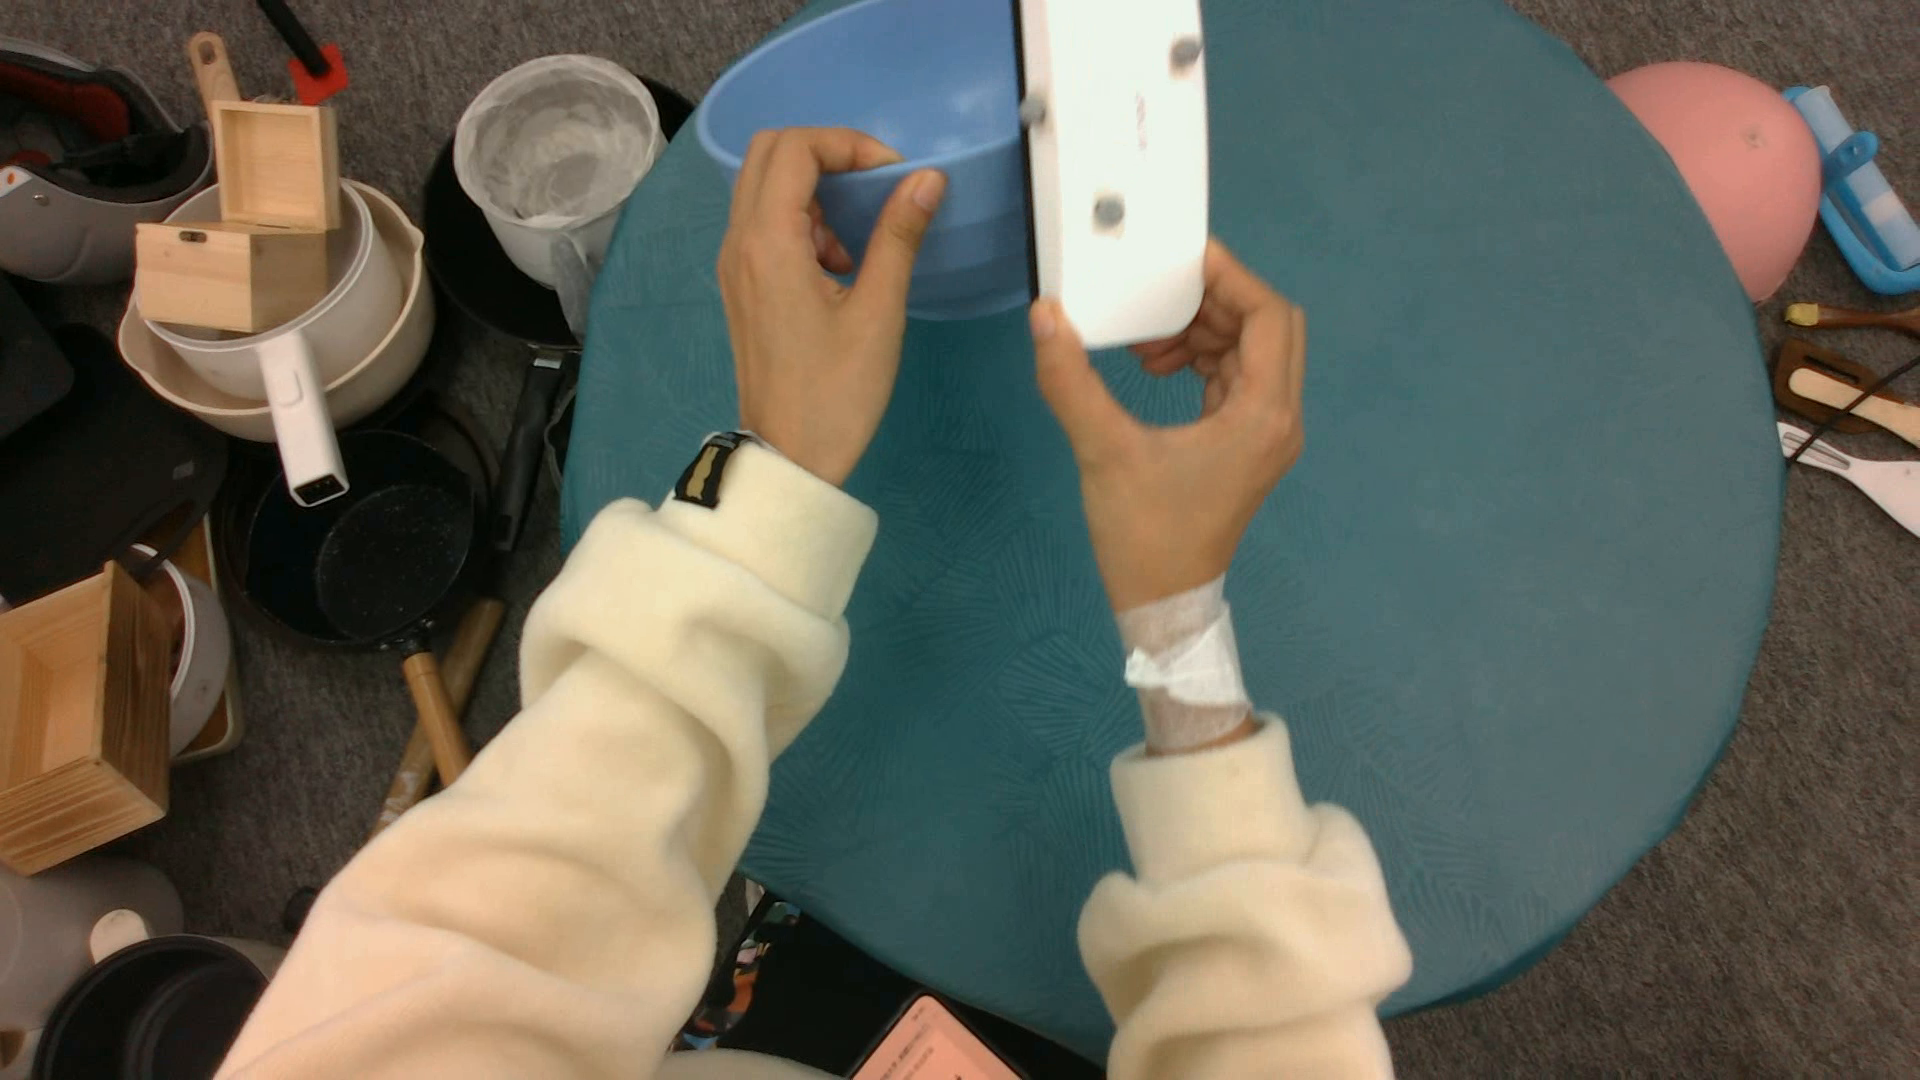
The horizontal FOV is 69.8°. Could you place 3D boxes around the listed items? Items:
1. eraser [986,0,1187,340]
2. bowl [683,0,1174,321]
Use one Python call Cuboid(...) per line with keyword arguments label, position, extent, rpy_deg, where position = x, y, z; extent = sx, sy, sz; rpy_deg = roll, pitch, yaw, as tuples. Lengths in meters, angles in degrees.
Cuboid(label="eraser", position=(0.043, -0.136, 0.471), extent=(0.063, 0.034, 0.131), rpy_deg=(-13, 104, -29))
Cuboid(label="bowl", position=(-0.008, -0.155, 0.577), extent=(0.196, 0.095, 0.197), rpy_deg=(-5, 38, 4))
